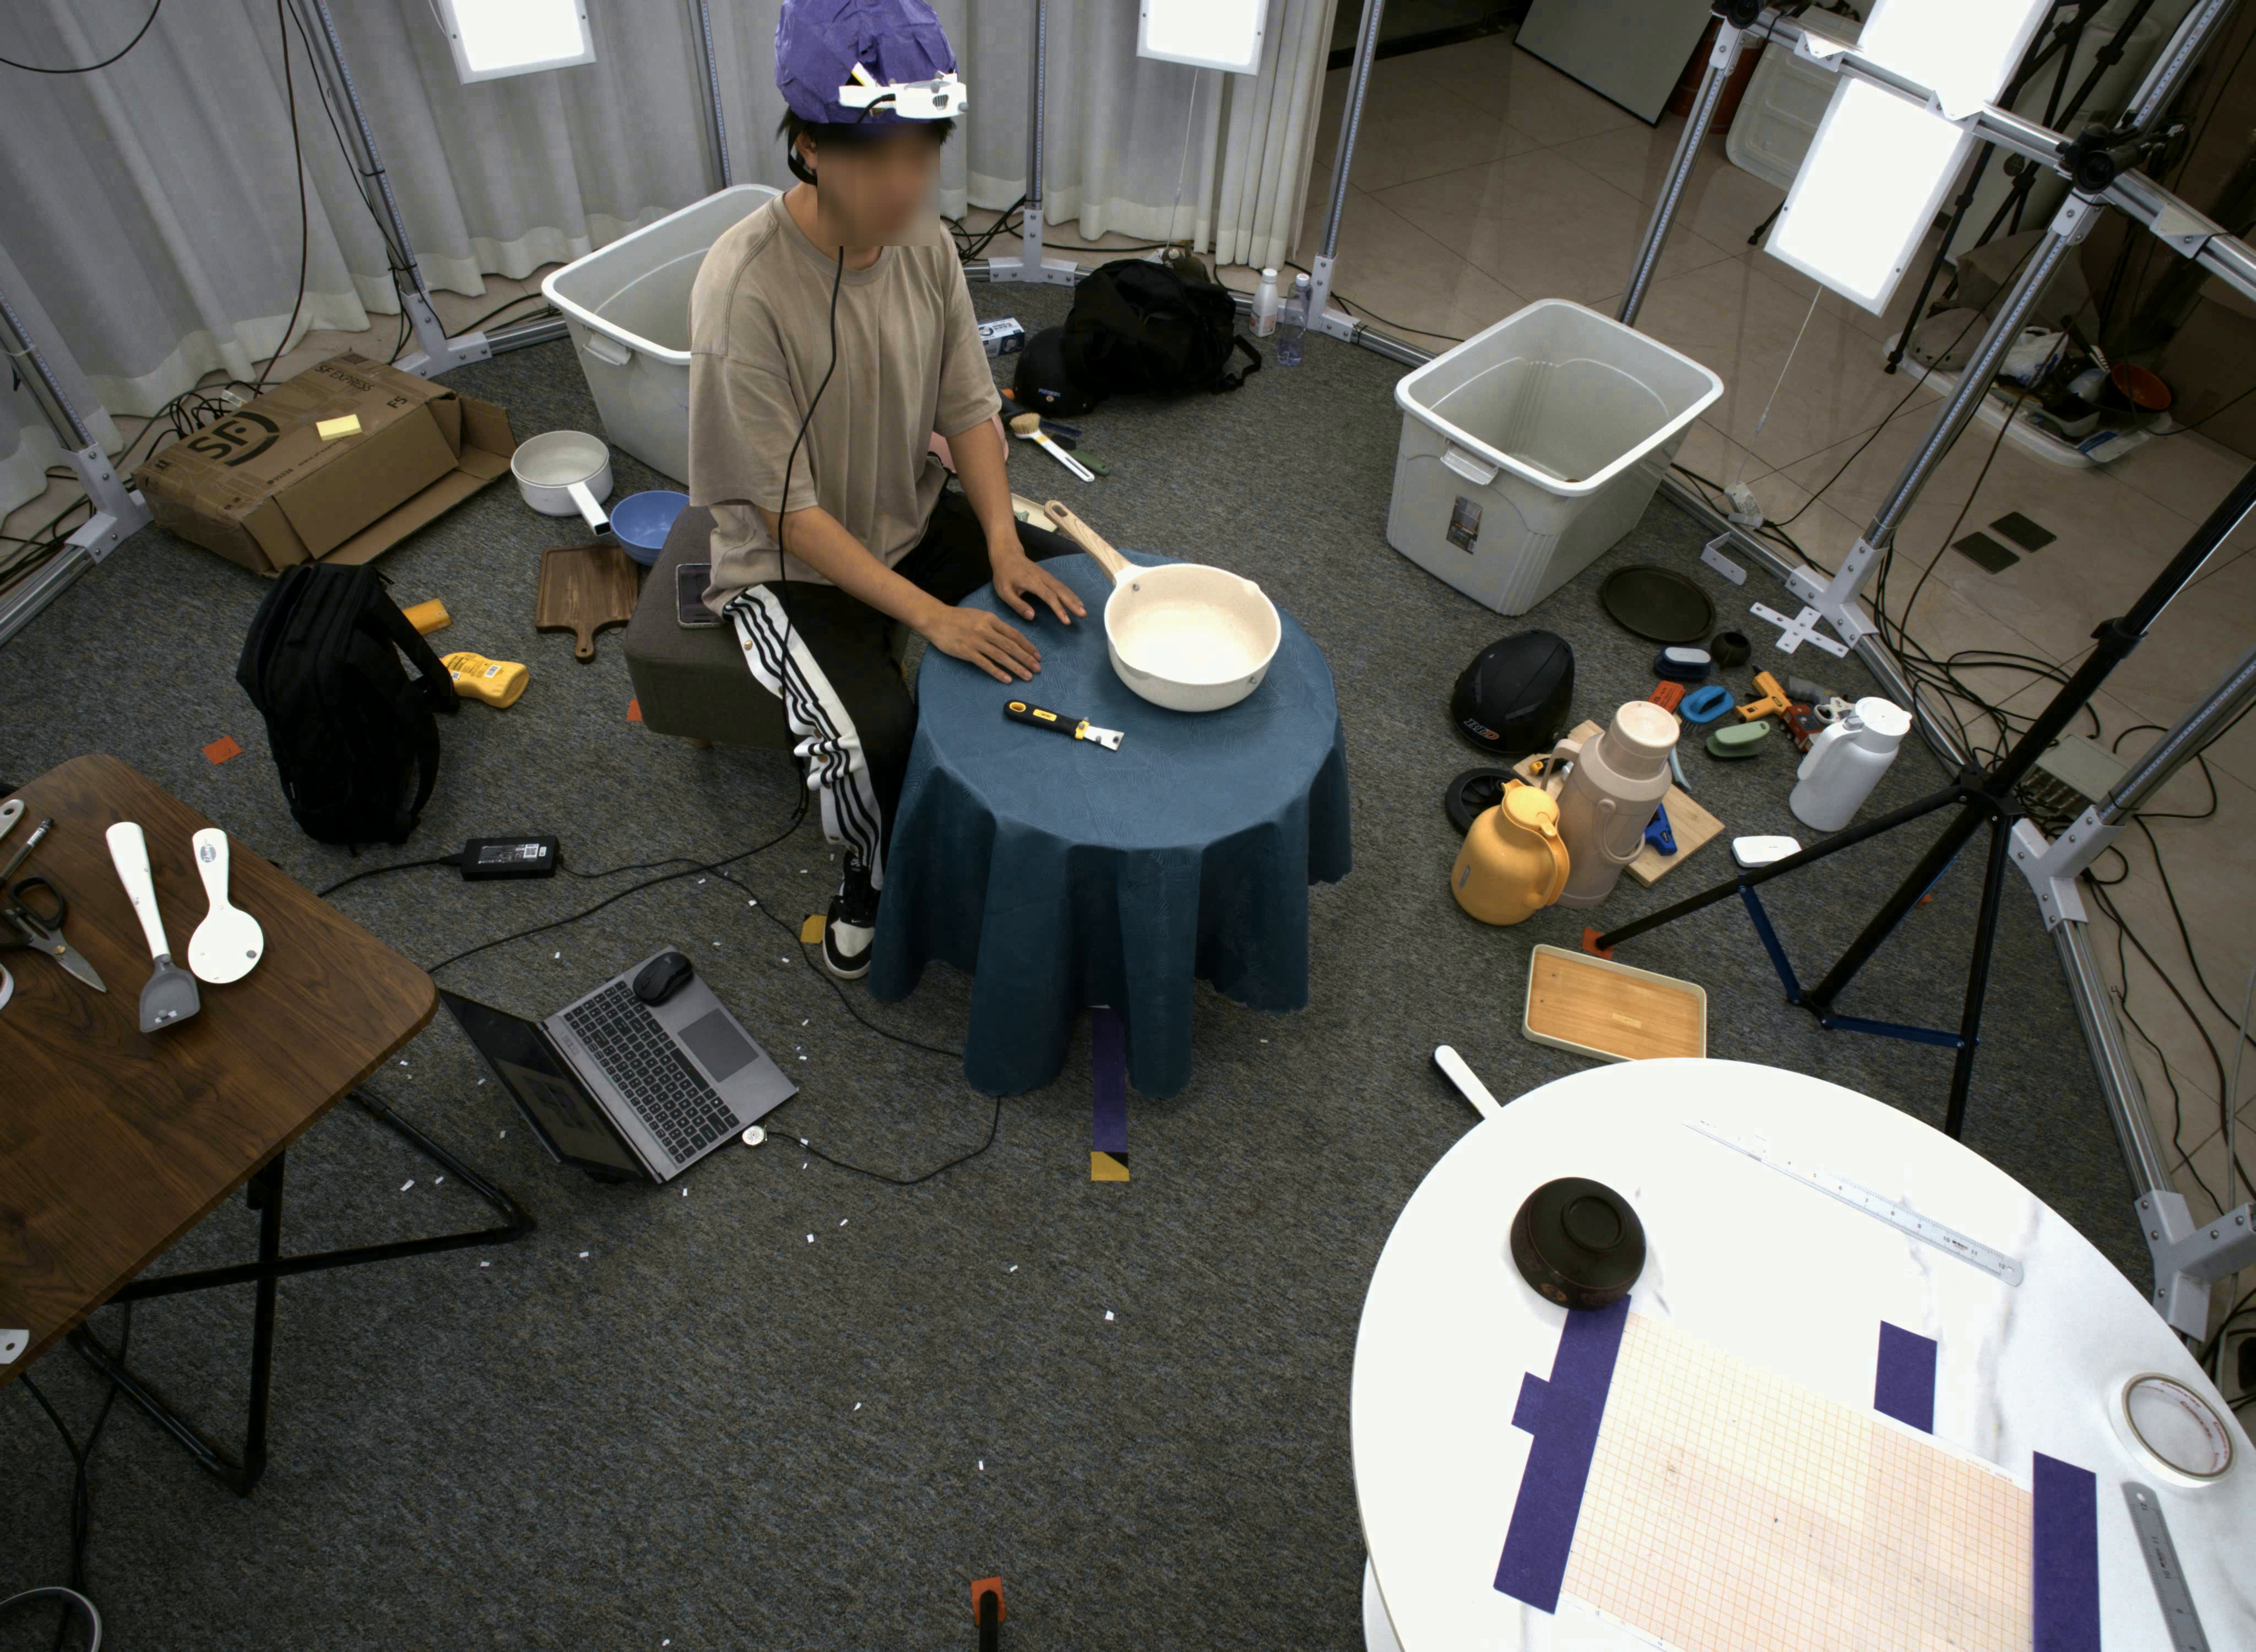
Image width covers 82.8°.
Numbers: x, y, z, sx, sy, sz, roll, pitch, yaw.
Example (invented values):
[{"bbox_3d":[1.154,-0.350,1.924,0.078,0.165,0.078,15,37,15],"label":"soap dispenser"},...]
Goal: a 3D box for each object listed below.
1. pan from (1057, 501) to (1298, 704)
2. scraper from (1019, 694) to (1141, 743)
[{"bbox_3d":[0.050,-0.334,1.890,0.265,0.099,0.441,-35,60,-28],"label":"pan"},{"bbox_3d":[-0.068,-0.149,1.765,0.171,0.014,0.039,16,54,6],"label":"scraper"}]
